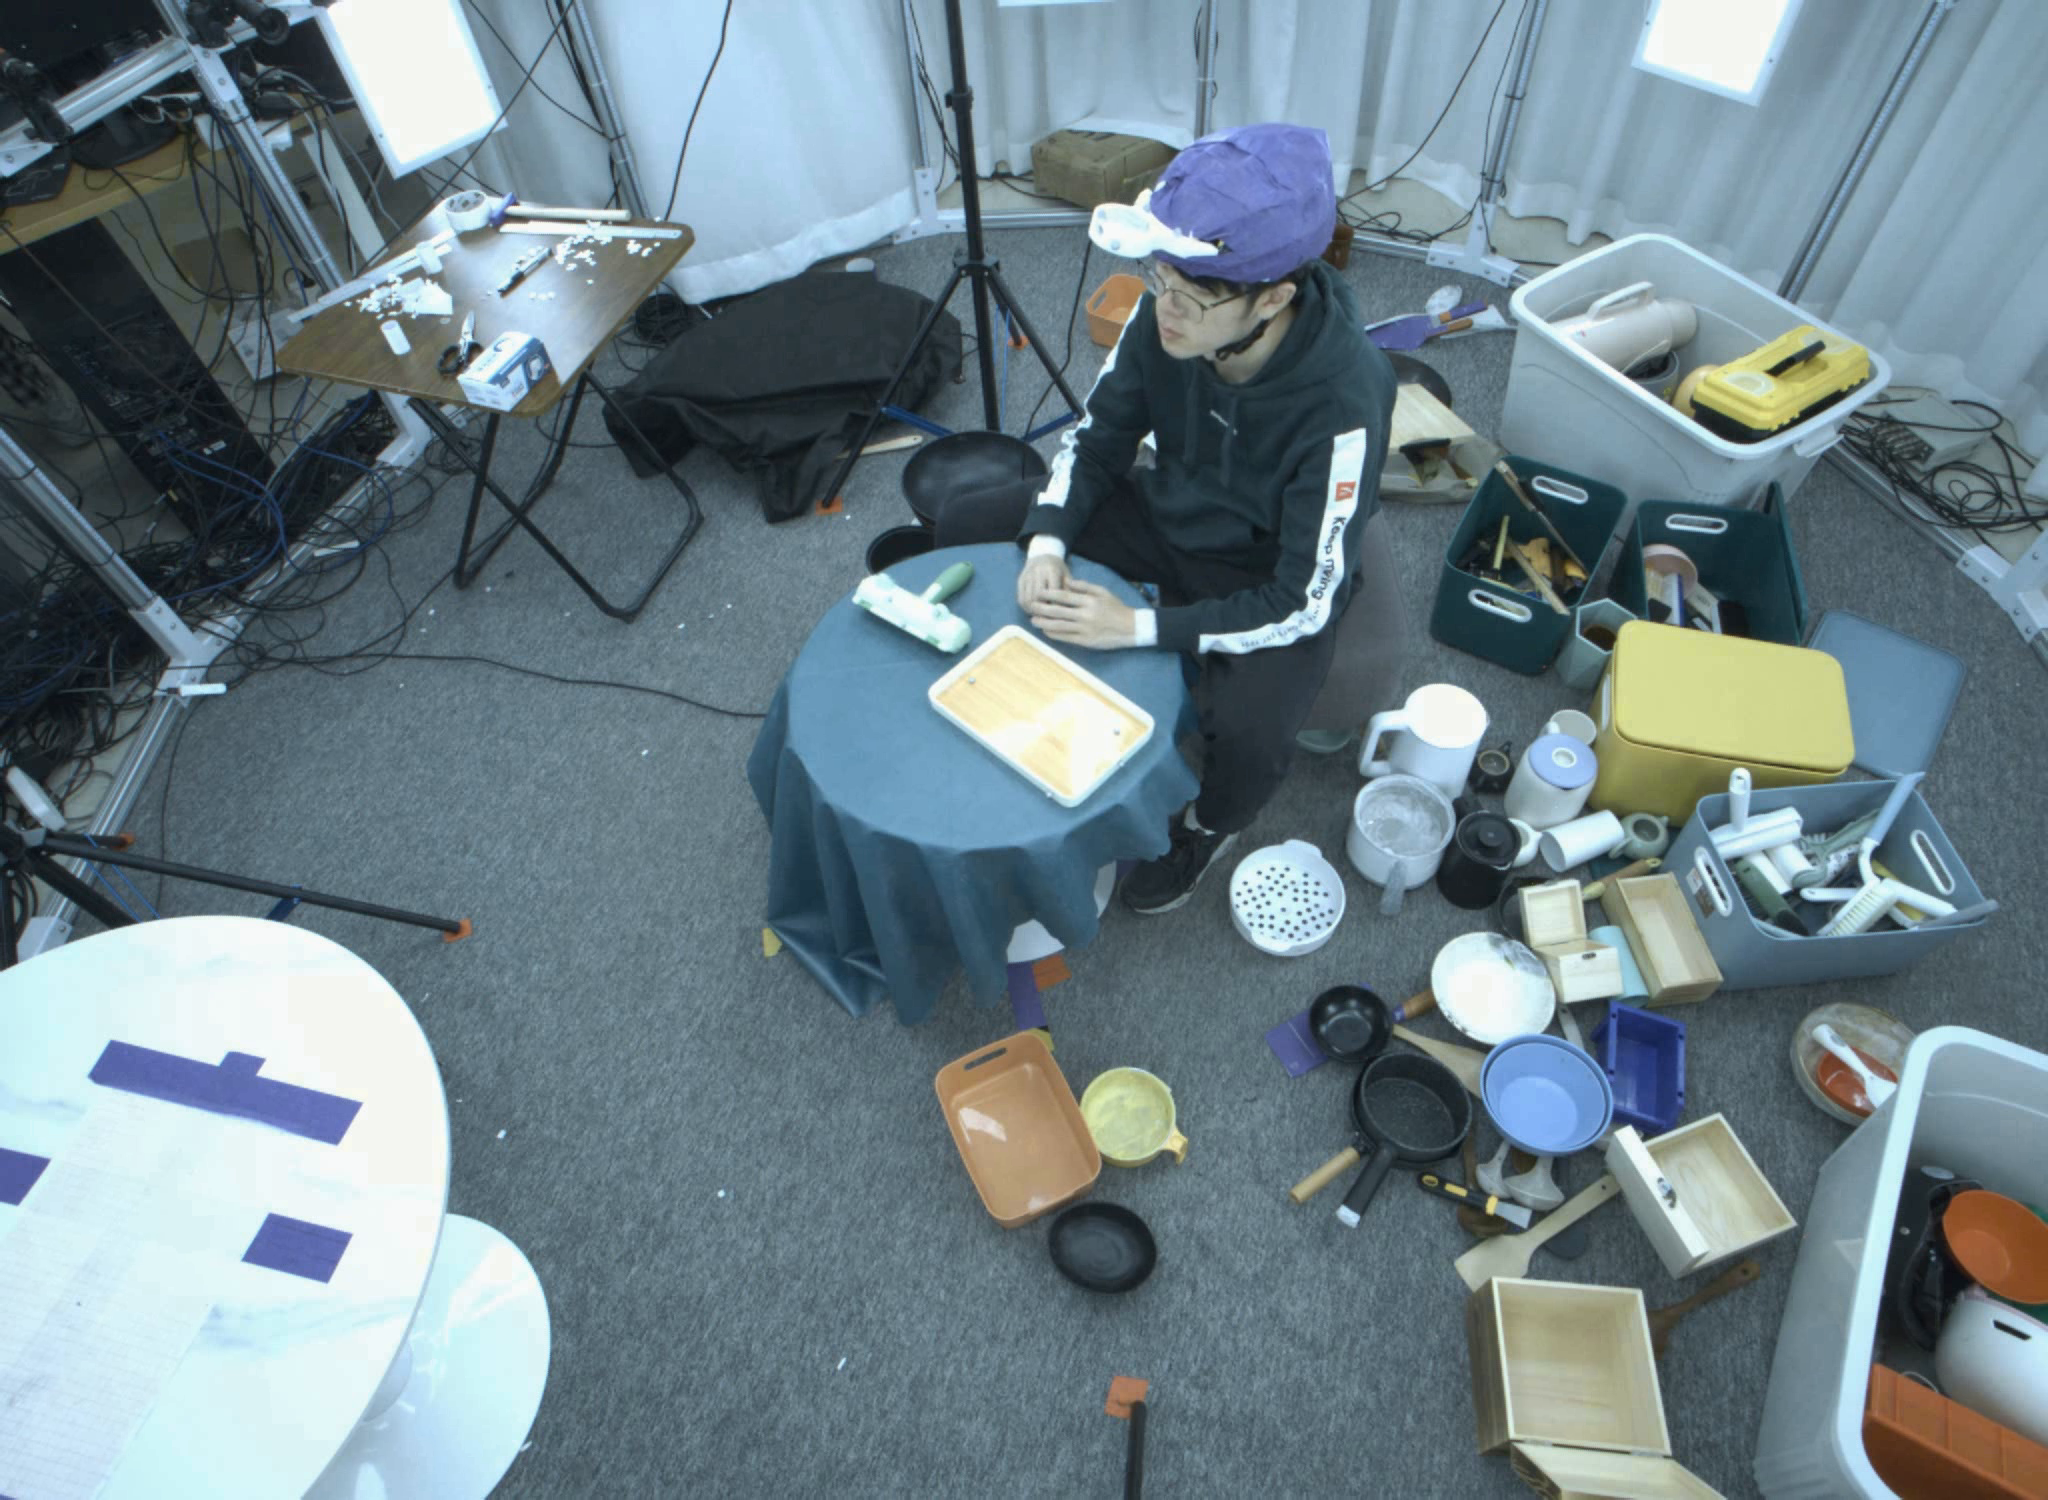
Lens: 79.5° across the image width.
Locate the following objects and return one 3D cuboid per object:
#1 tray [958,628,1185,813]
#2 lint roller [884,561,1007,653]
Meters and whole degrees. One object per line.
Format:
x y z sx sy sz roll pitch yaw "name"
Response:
0.066 -0.049 1.799 0.295 0.028 0.193 39 64 25 "tray"
-0.092 -0.254 1.919 0.195 0.083 0.184 31 66 22 "lint roller"
